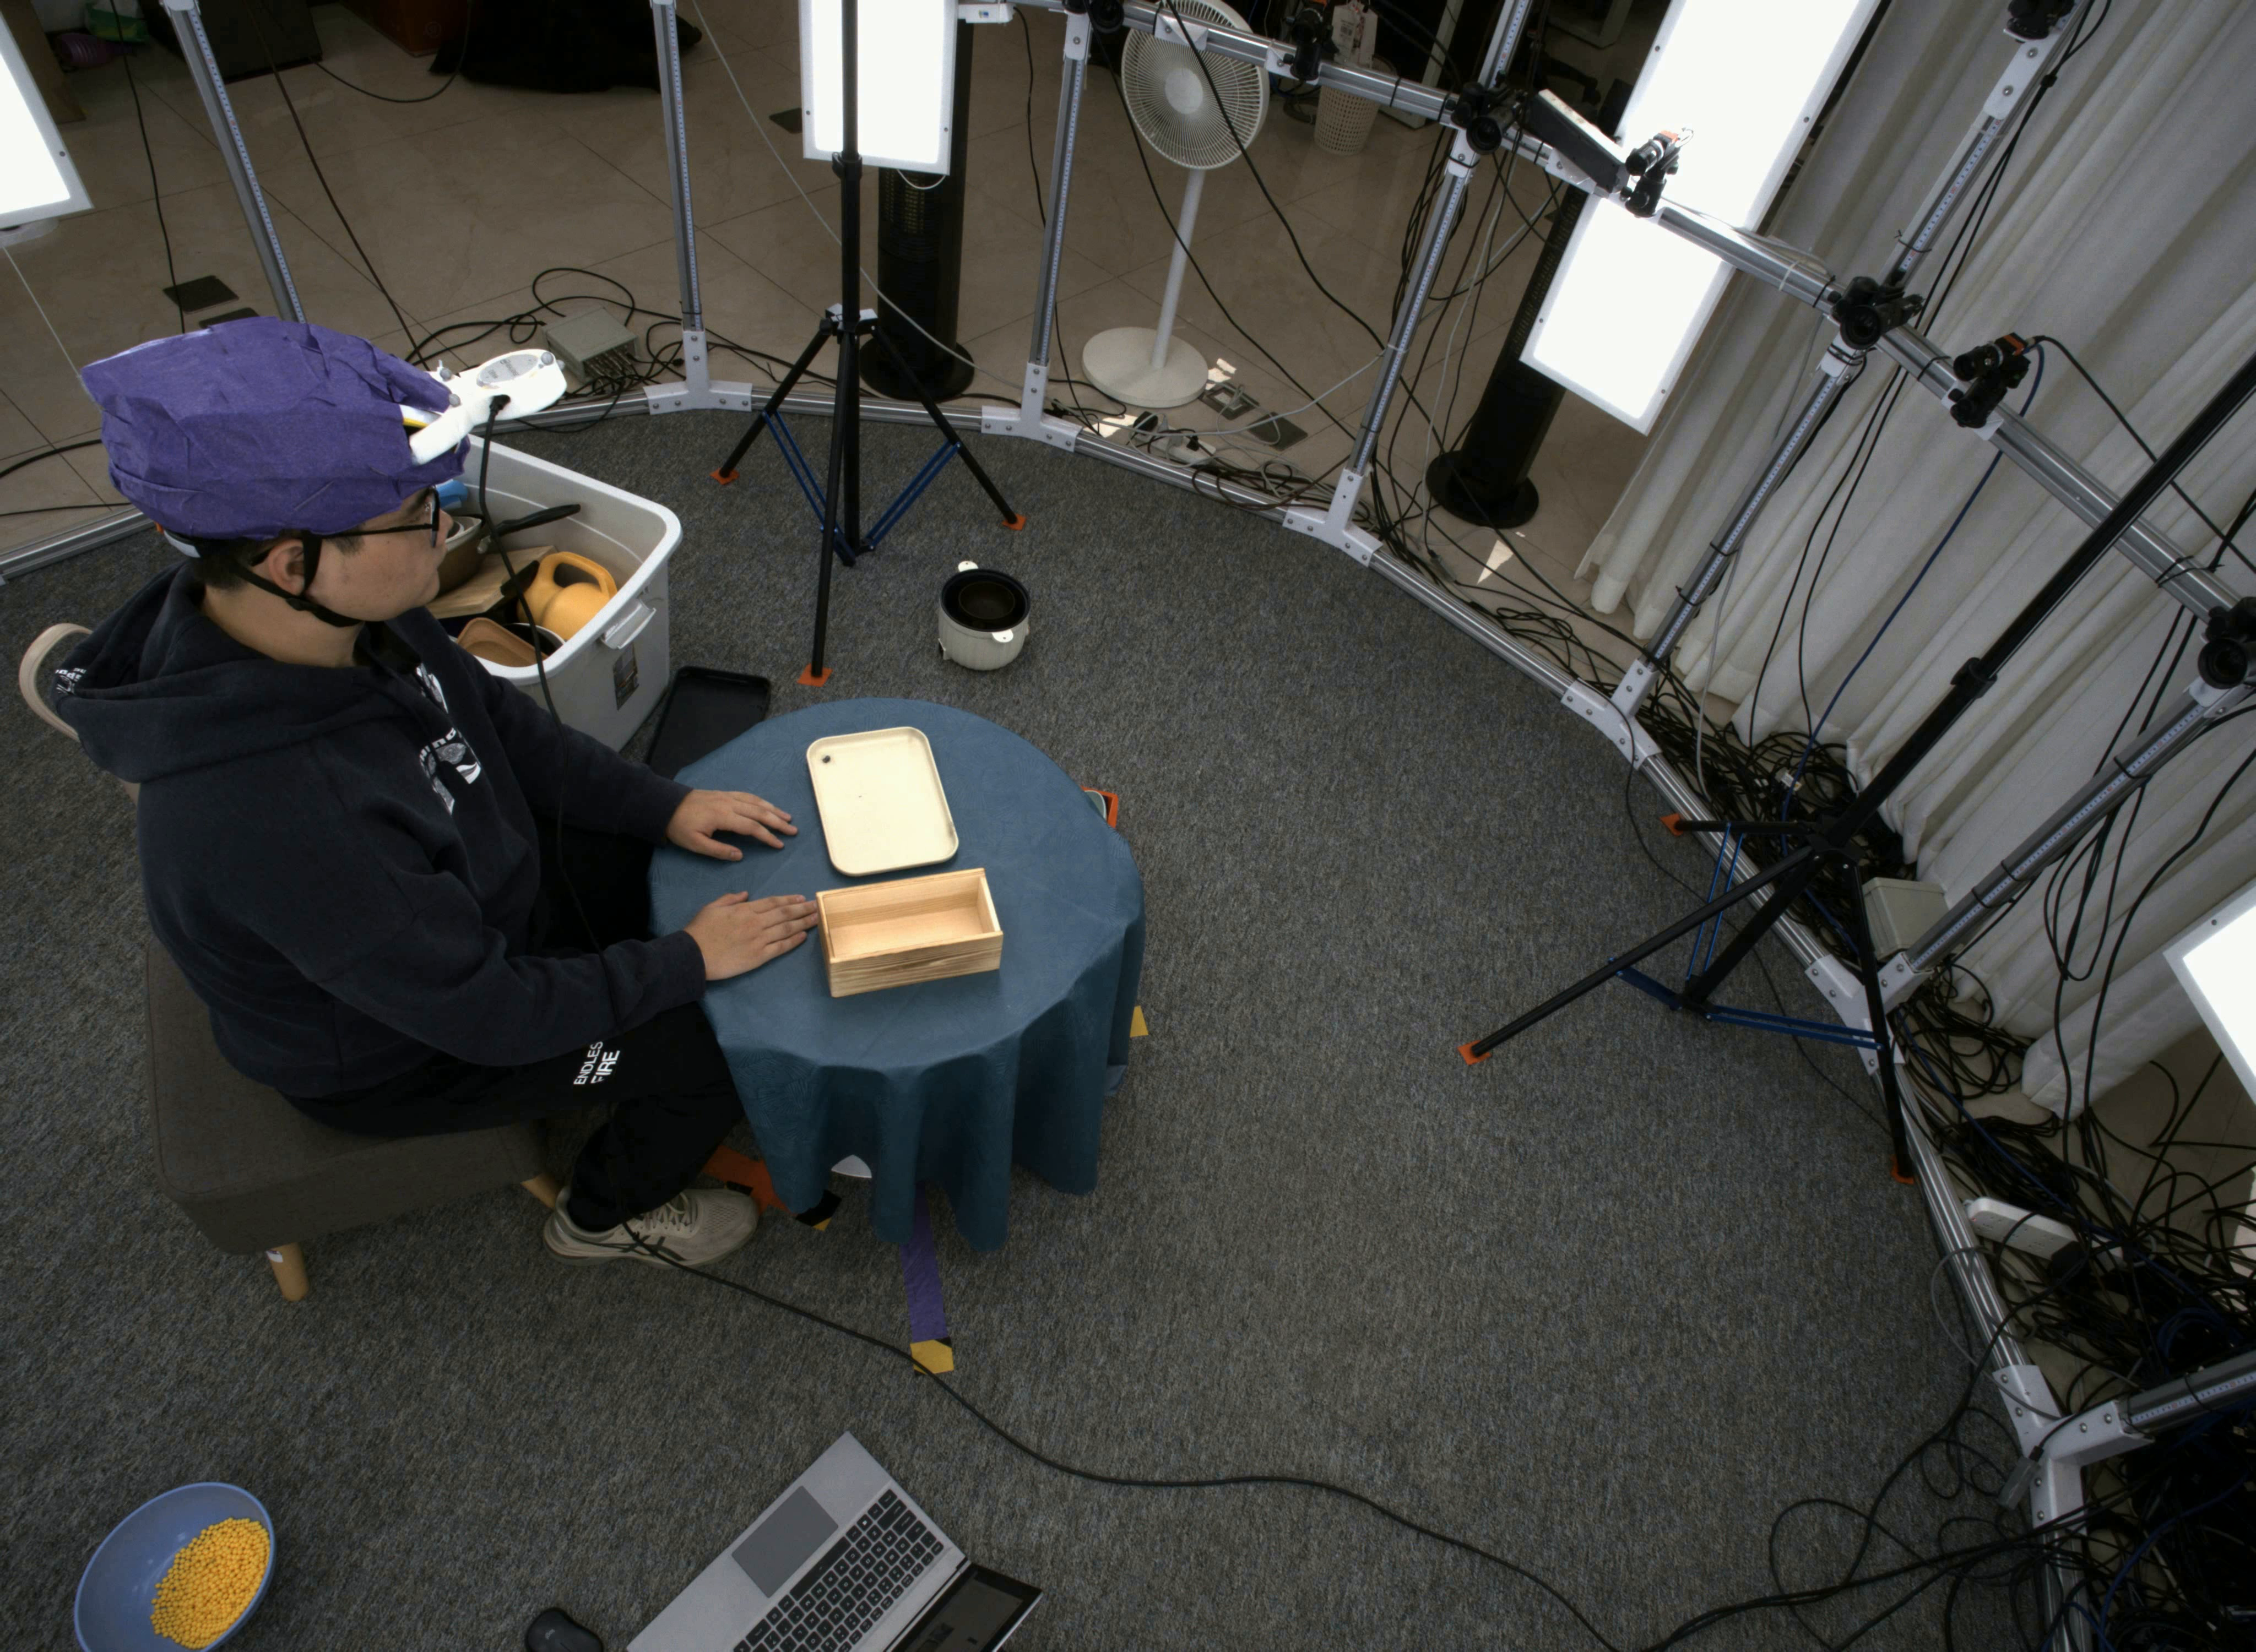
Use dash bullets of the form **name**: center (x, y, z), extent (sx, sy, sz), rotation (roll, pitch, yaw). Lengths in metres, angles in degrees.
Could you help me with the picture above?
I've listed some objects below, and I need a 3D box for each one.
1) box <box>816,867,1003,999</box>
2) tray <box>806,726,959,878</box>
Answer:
- **box**: center (-0.270, 0.129, 1.611), extent (0.212, 0.082, 0.105), rotation (-9, 55, -19)
- **tray**: center (-0.334, -0.035, 1.758), extent (0.172, 0.018, 0.234), rotation (-9, 57, -20)
